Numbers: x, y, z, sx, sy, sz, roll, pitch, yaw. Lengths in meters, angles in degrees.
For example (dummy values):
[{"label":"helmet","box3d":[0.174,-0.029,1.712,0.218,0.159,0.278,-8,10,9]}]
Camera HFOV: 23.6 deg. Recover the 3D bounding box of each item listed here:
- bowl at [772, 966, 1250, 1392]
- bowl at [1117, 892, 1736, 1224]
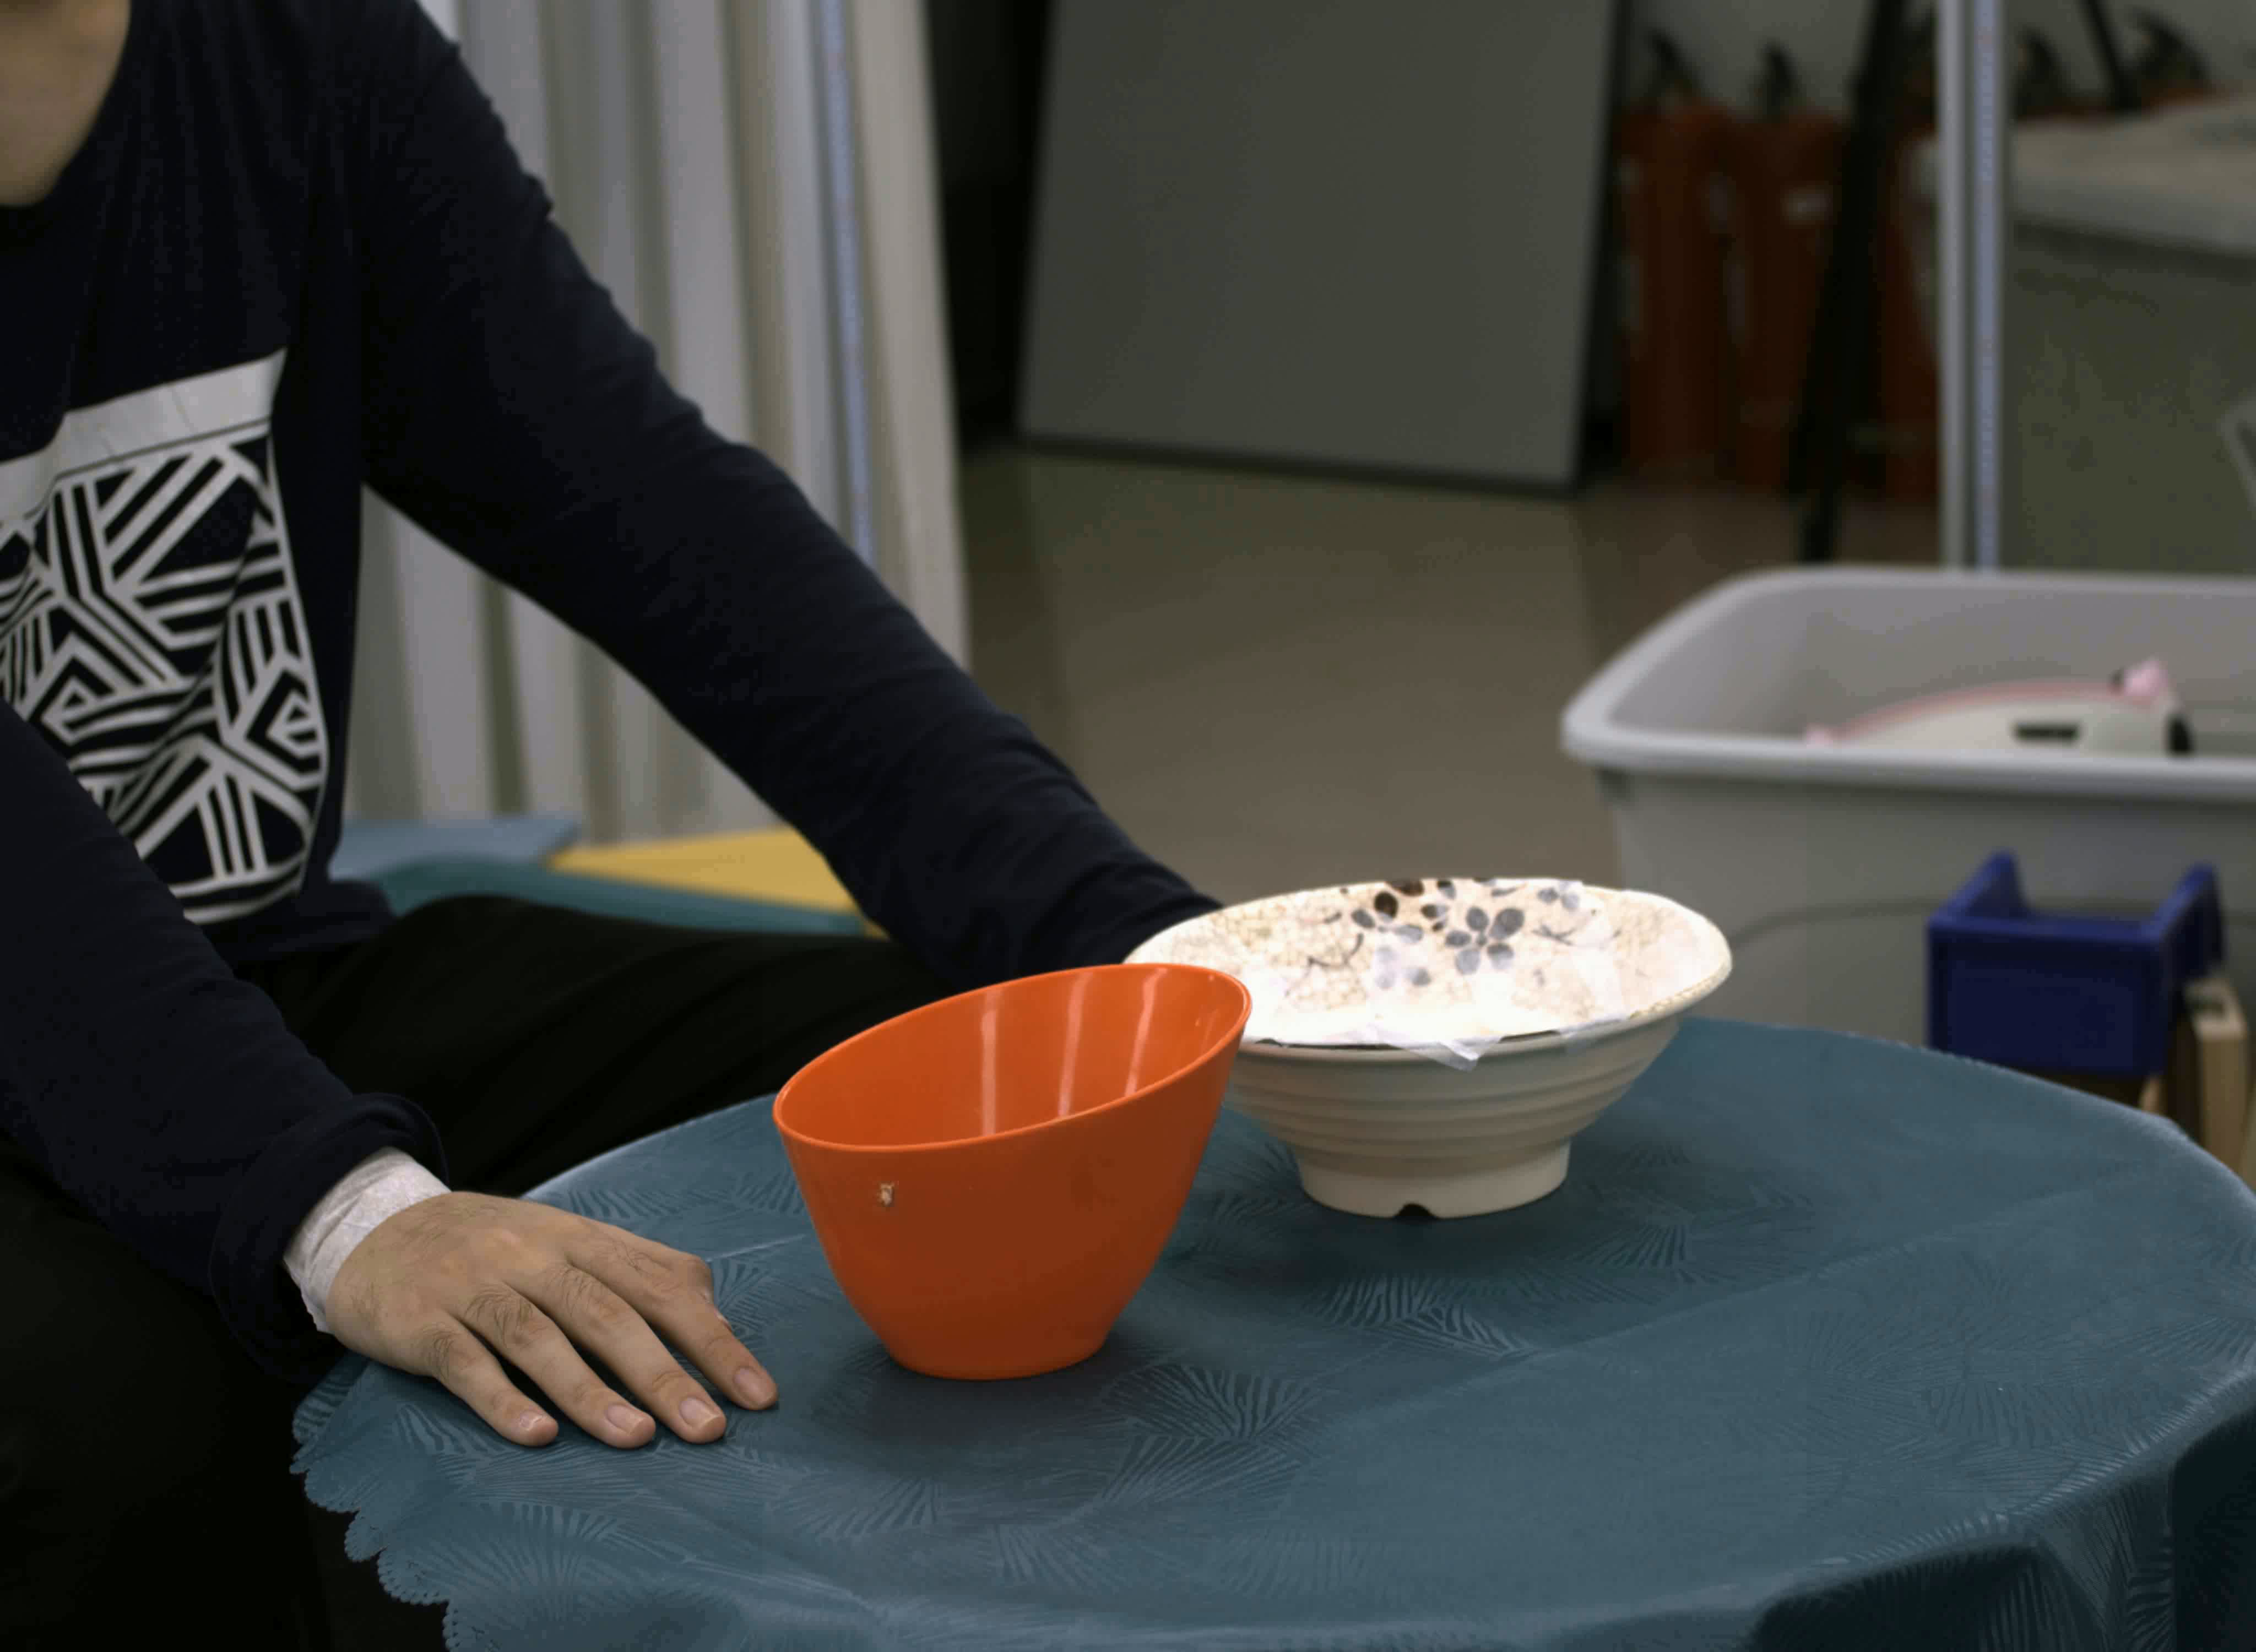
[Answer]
[{"label":"bowl","box3d":[-0.031,0.109,1.624,0.146,0.106,0.148,-6,13,0]},{"label":"bowl","box3d":[0.099,0.081,1.752,0.201,0.079,0.204,-4,12,0]}]
